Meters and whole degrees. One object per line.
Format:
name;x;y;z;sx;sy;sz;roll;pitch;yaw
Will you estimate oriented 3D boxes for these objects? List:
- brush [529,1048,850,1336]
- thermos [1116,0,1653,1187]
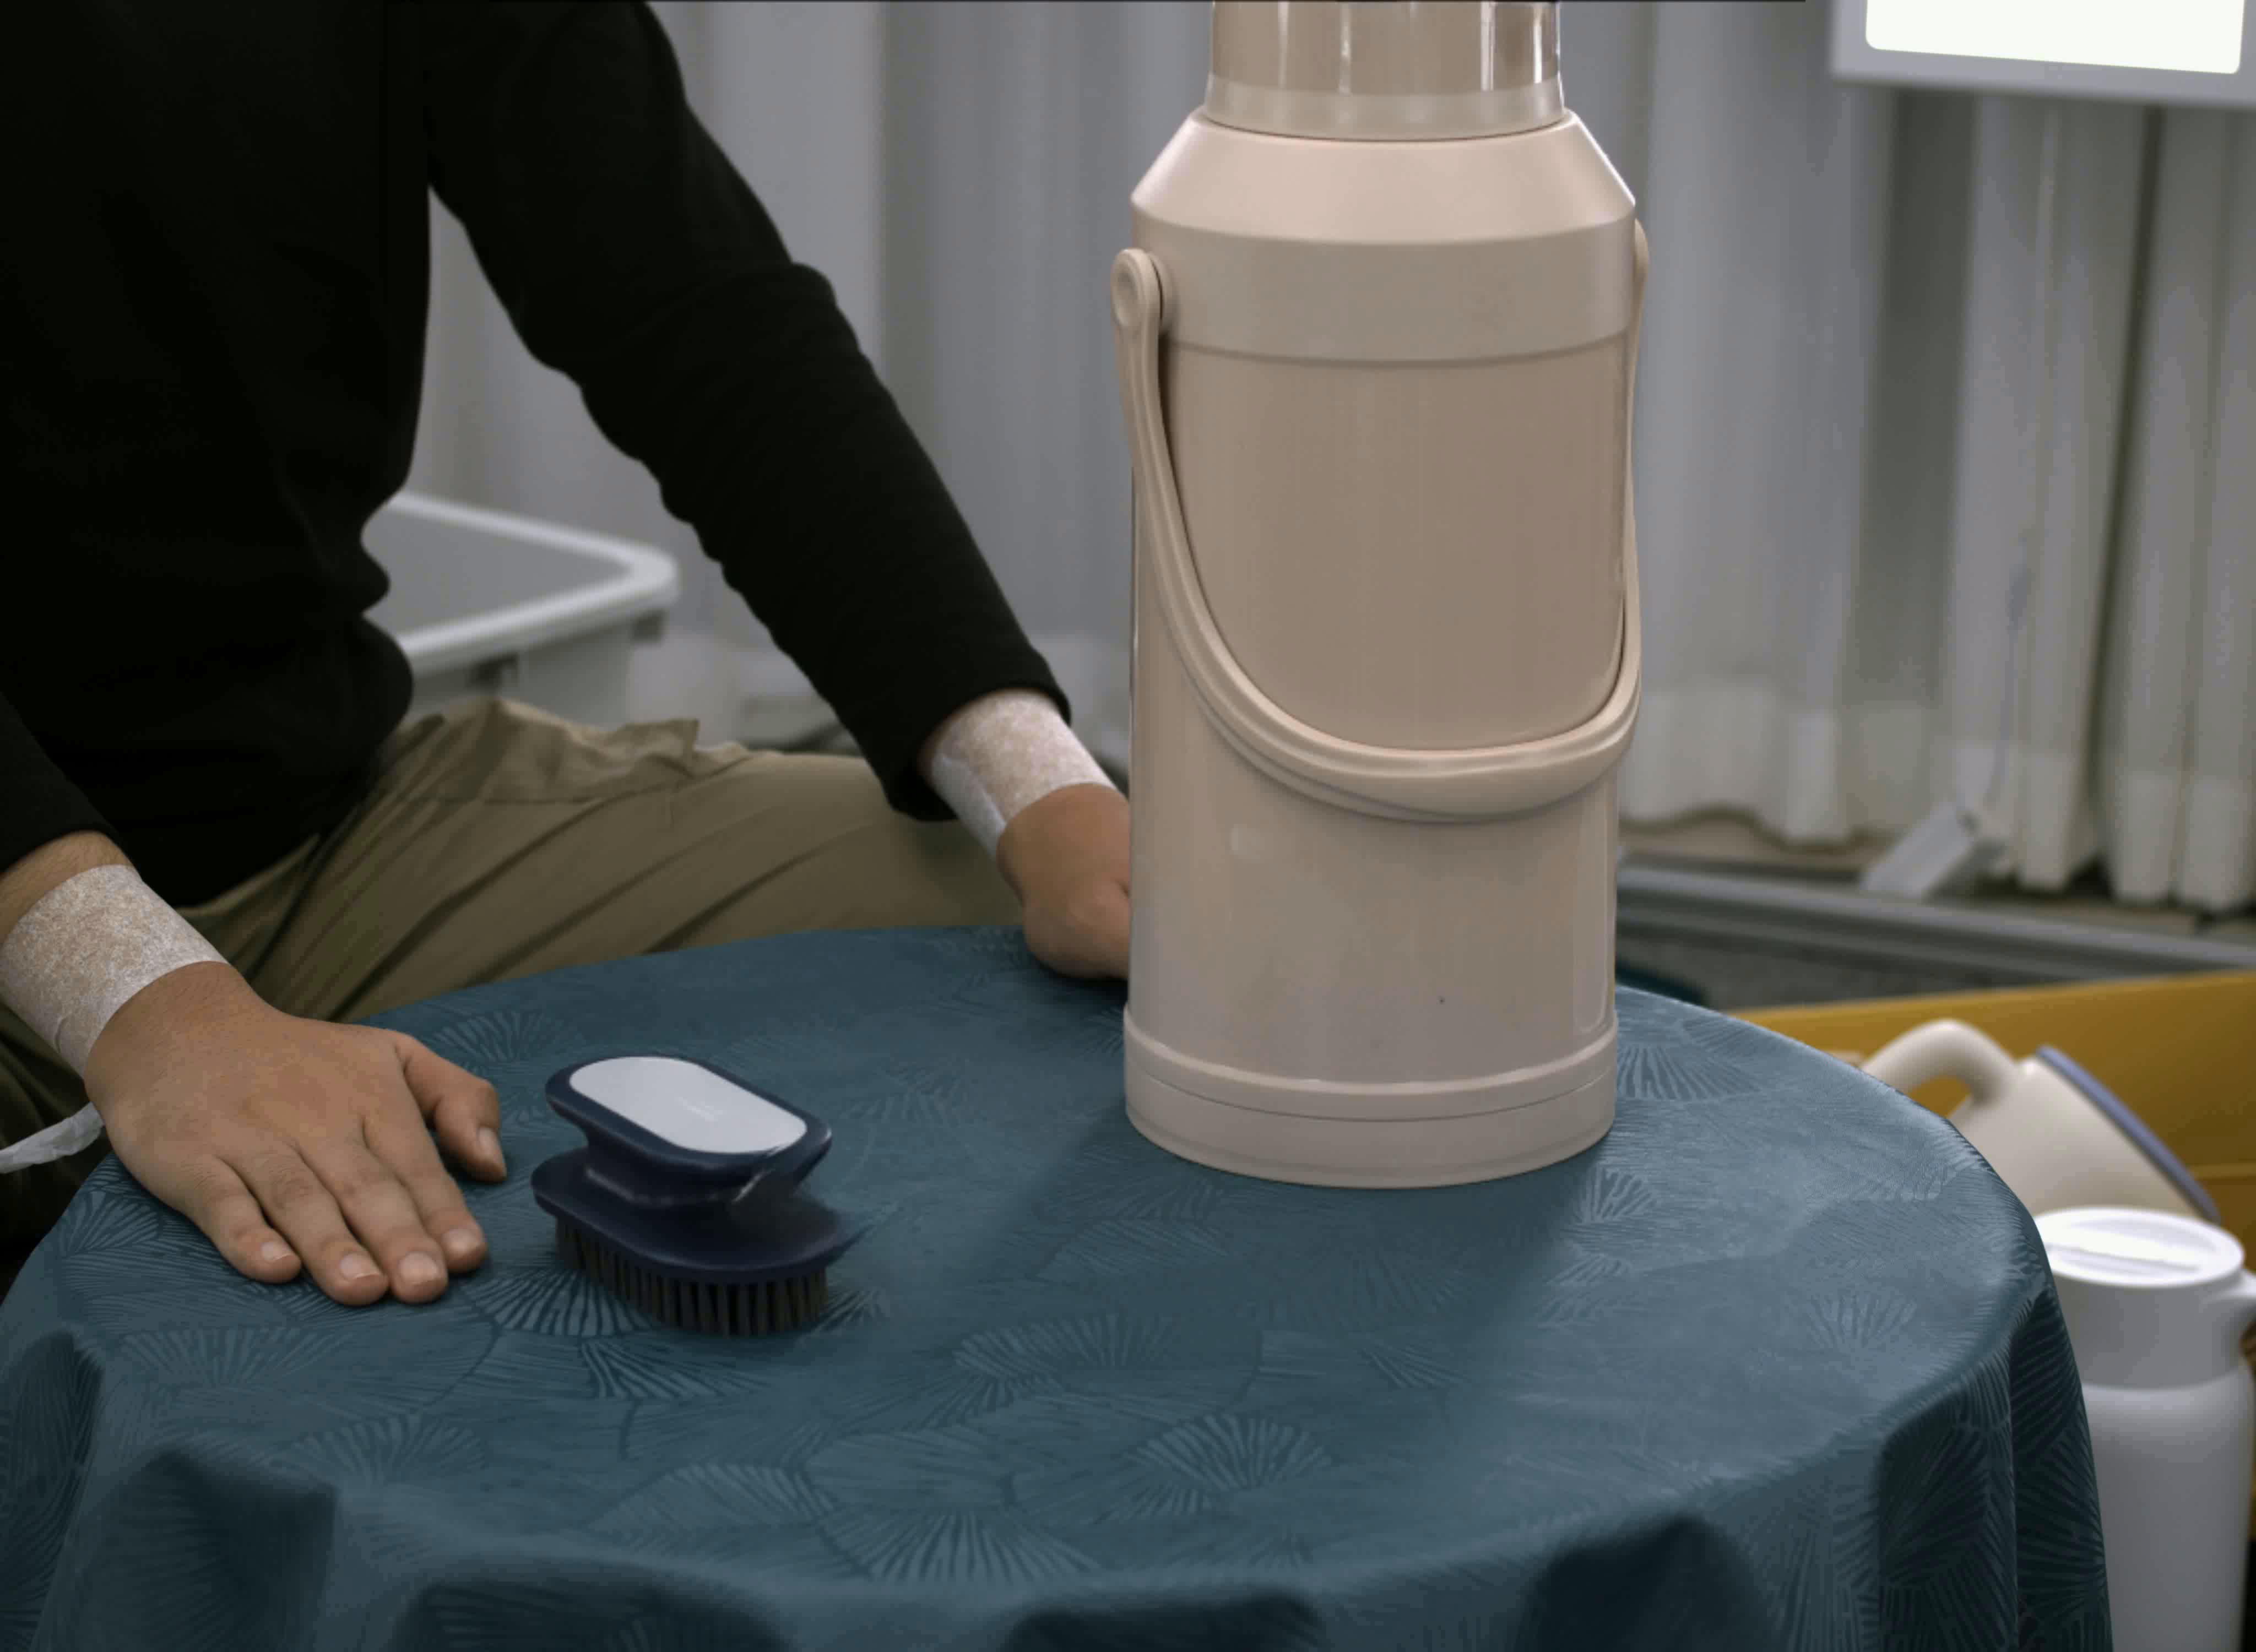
brush;-0.128;0.108;1.533;0.068;0.062;0.120;-9;19;-31
thermos;0.075;-0.104;1.657;0.176;0.410;0.204;-9;19;-24
